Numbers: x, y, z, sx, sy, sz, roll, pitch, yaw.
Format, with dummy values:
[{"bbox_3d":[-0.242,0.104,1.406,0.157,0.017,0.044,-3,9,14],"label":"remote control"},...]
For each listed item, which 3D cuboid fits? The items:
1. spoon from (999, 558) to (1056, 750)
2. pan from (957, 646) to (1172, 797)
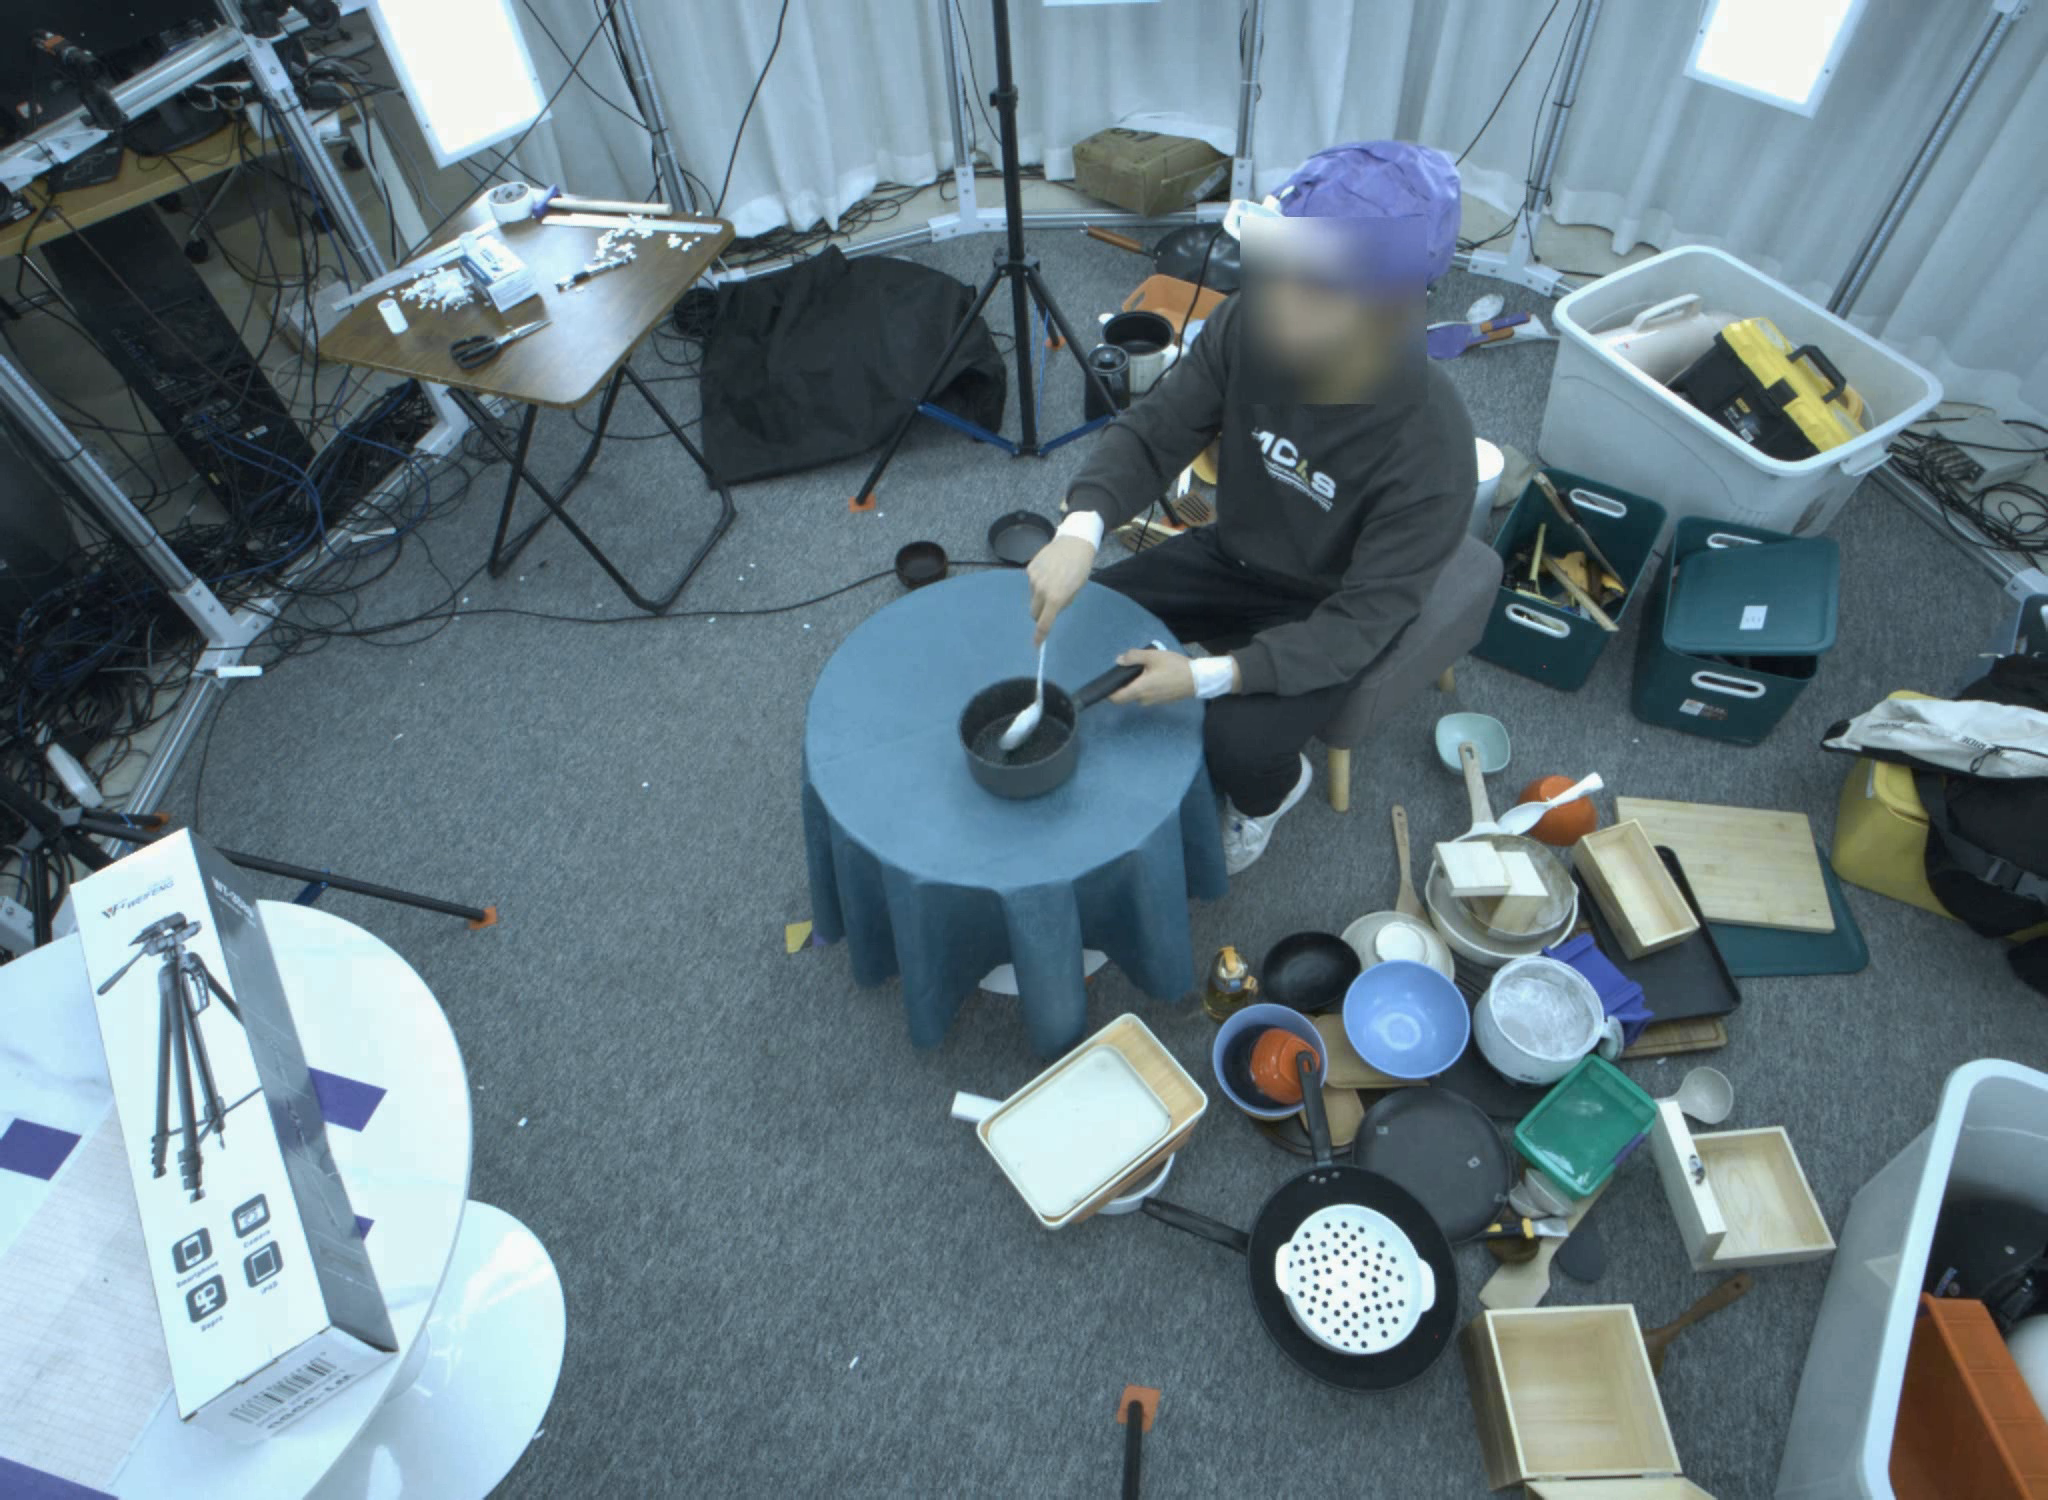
[{"bbox_3d":[0.005,-0.134,1.736,0.059,0.100,0.278,5,97,3],"label":"spoon"},{"bbox_3d":[0.065,-0.052,1.770,0.331,0.087,0.168,-25,54,-13],"label":"pan"}]
